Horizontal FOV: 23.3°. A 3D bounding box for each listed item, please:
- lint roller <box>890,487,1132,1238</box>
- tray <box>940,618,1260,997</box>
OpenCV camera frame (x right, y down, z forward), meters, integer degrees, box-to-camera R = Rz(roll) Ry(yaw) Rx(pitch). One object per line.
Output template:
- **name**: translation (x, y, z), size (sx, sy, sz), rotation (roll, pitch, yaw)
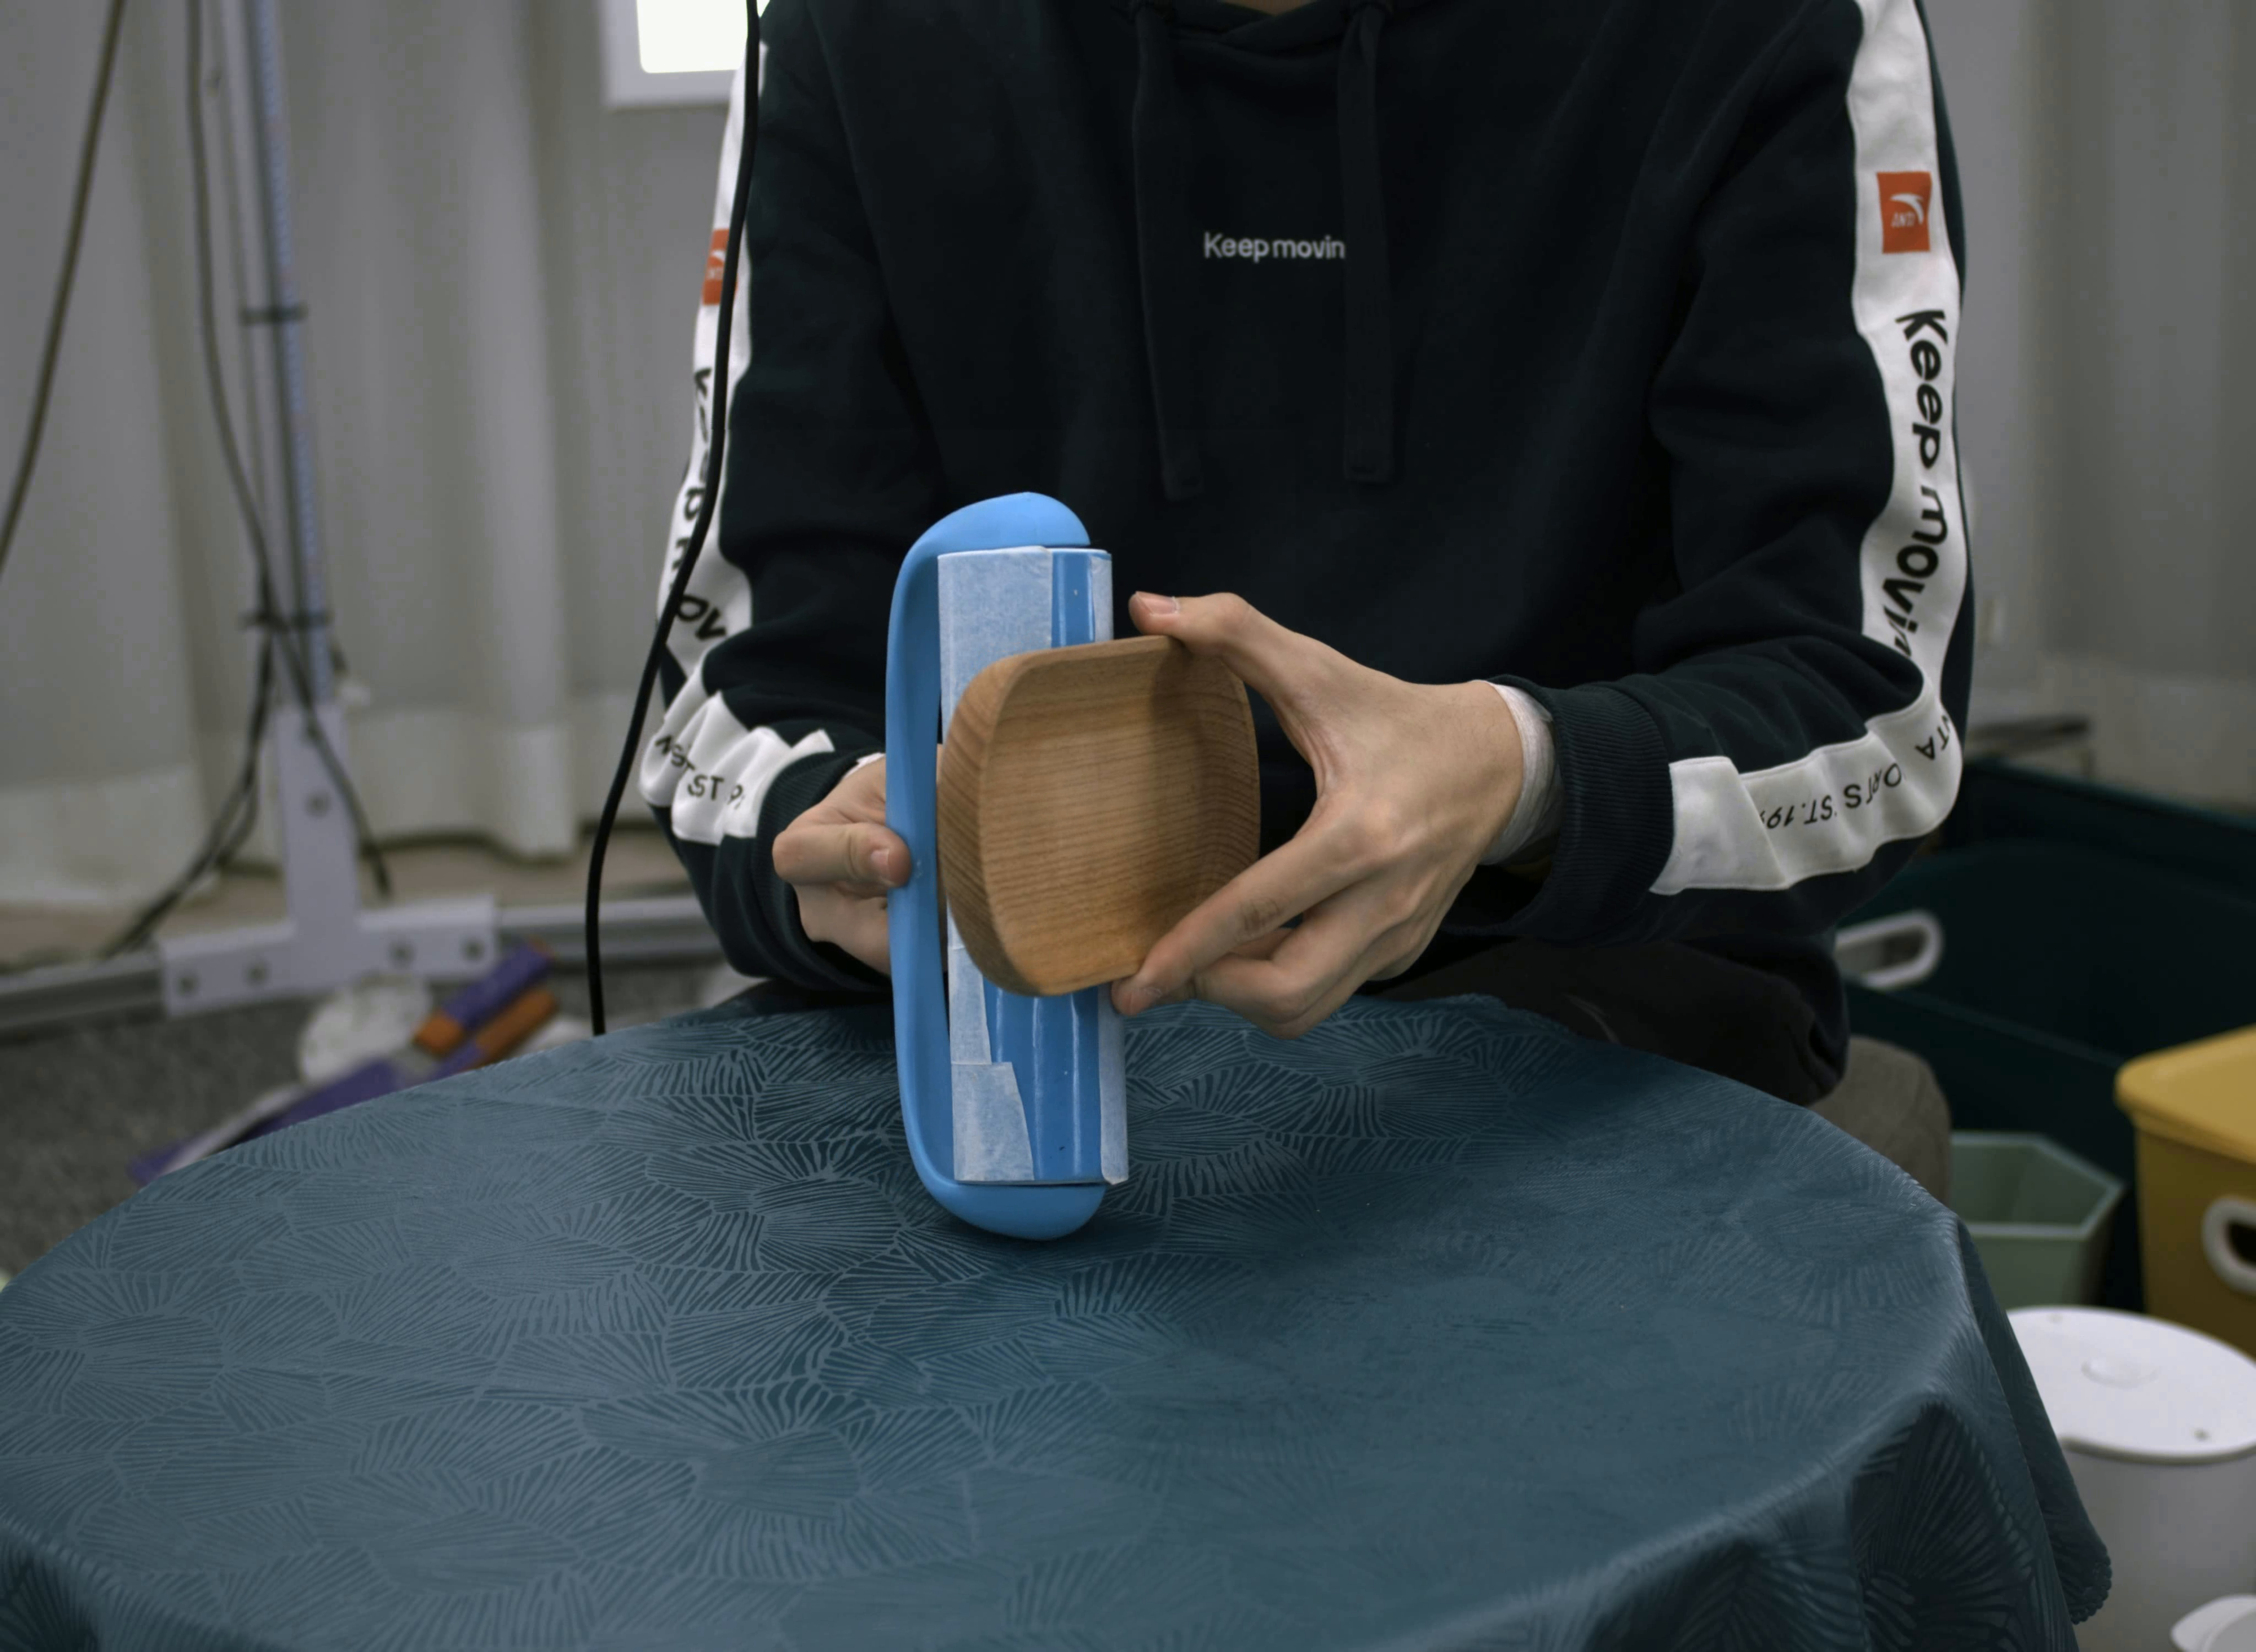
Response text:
- **lint roller**: translation (-0.044, 0.015, 1.728), size (0.067, 0.230, 0.180), rotation (-3, -4, -14)
- **tray**: translation (-0.006, -0.008, 1.642), size (0.020, 0.102, 0.231), rotation (-2, 5, 20)
